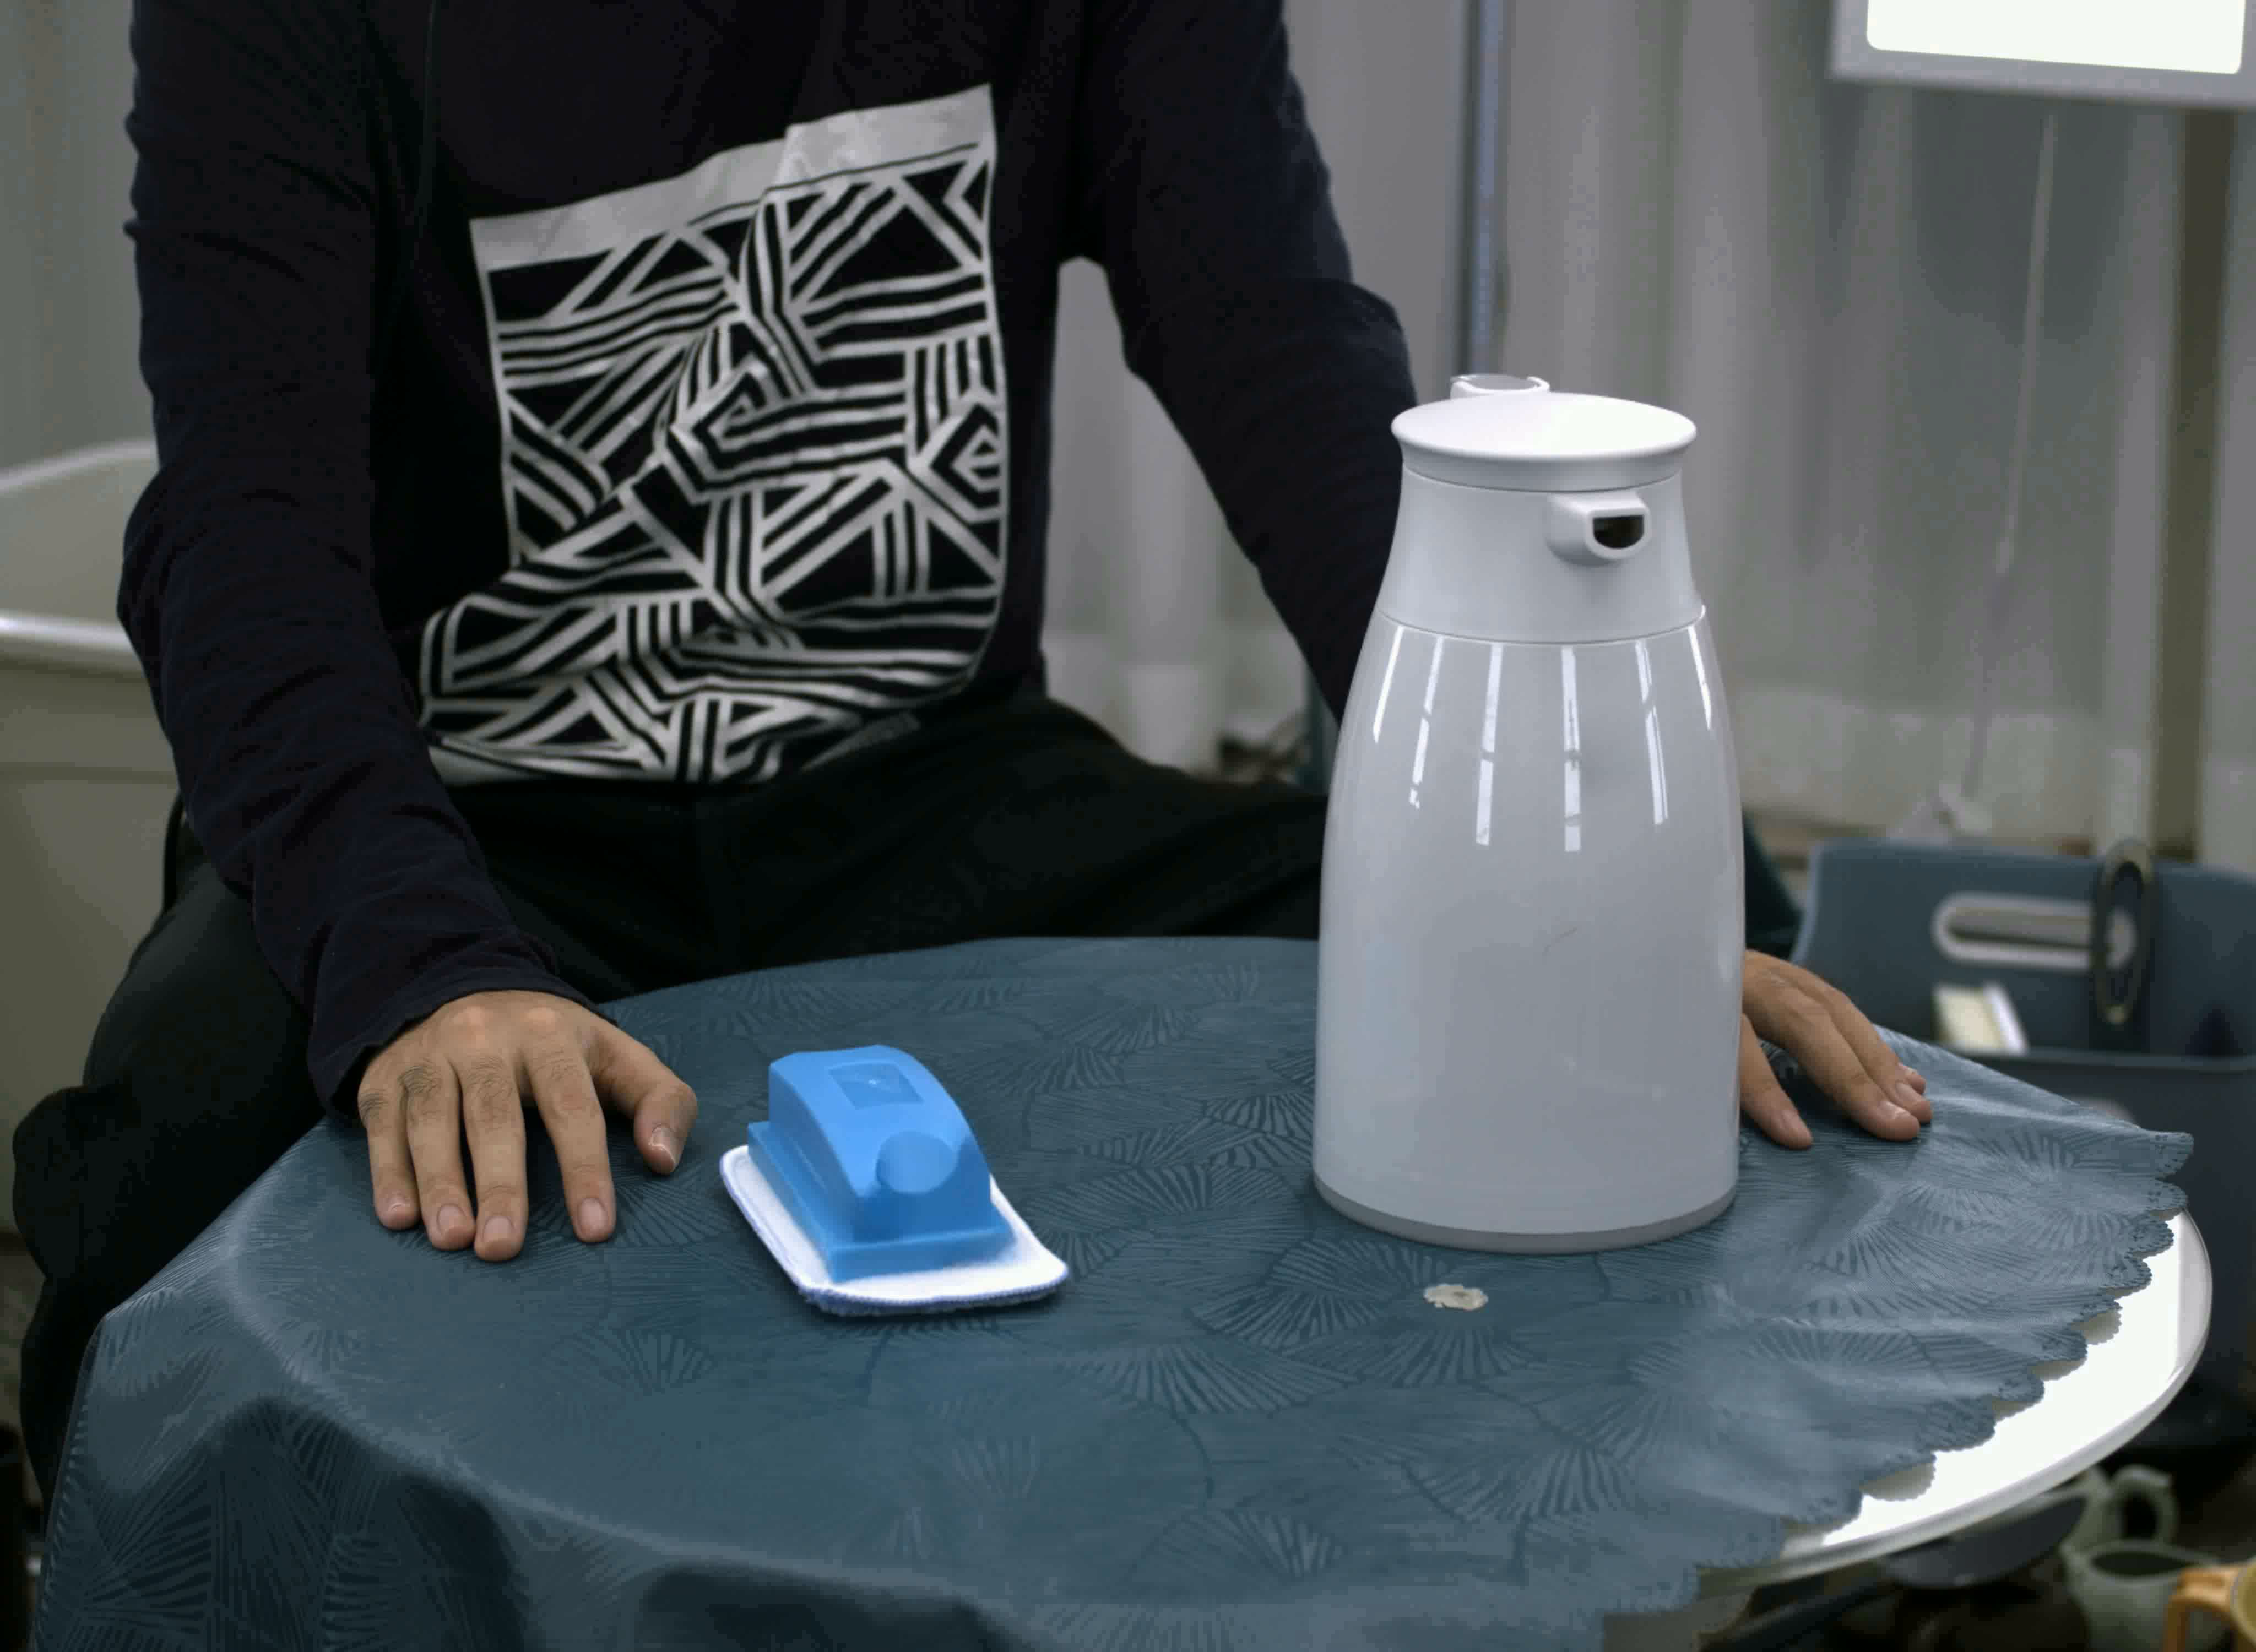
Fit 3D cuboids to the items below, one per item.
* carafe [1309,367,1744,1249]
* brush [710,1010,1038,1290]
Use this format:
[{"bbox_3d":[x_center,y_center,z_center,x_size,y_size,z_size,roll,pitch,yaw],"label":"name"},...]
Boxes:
[{"bbox_3d":[0.116,-0.014,1.618,0.133,0.250,0.166,-5,16,-19],"label":"carafe"},{"bbox_3d":[-0.075,0.094,1.575,0.084,0.056,0.142,0,18,-14],"label":"brush"}]
